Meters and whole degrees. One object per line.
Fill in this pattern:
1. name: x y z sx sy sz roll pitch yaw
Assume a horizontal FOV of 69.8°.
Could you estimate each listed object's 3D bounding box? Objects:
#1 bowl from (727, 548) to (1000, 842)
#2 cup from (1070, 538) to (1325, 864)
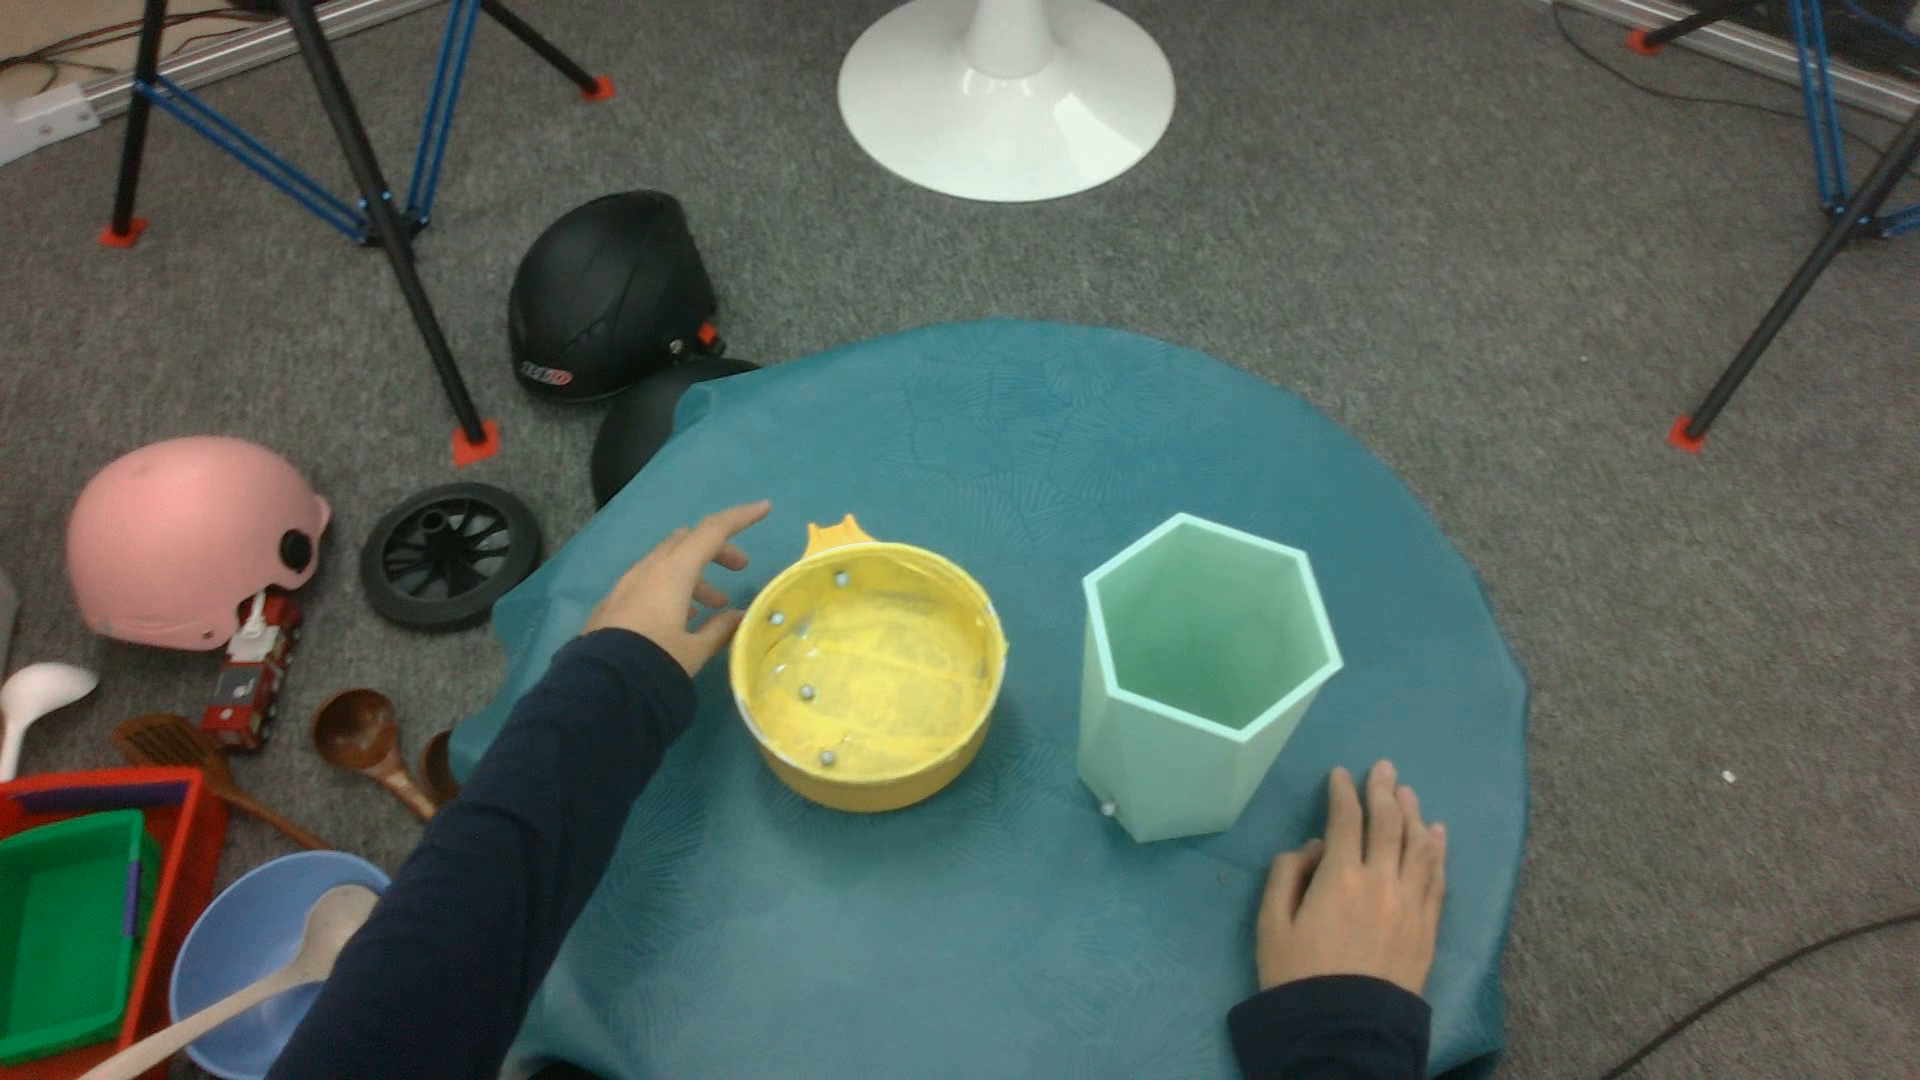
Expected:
1. bowl: -0.056 0.090 0.808 0.153 0.074 0.180 -18 57 -8
2. cup: 0.118 0.096 0.745 0.131 0.162 0.116 15 56 12
